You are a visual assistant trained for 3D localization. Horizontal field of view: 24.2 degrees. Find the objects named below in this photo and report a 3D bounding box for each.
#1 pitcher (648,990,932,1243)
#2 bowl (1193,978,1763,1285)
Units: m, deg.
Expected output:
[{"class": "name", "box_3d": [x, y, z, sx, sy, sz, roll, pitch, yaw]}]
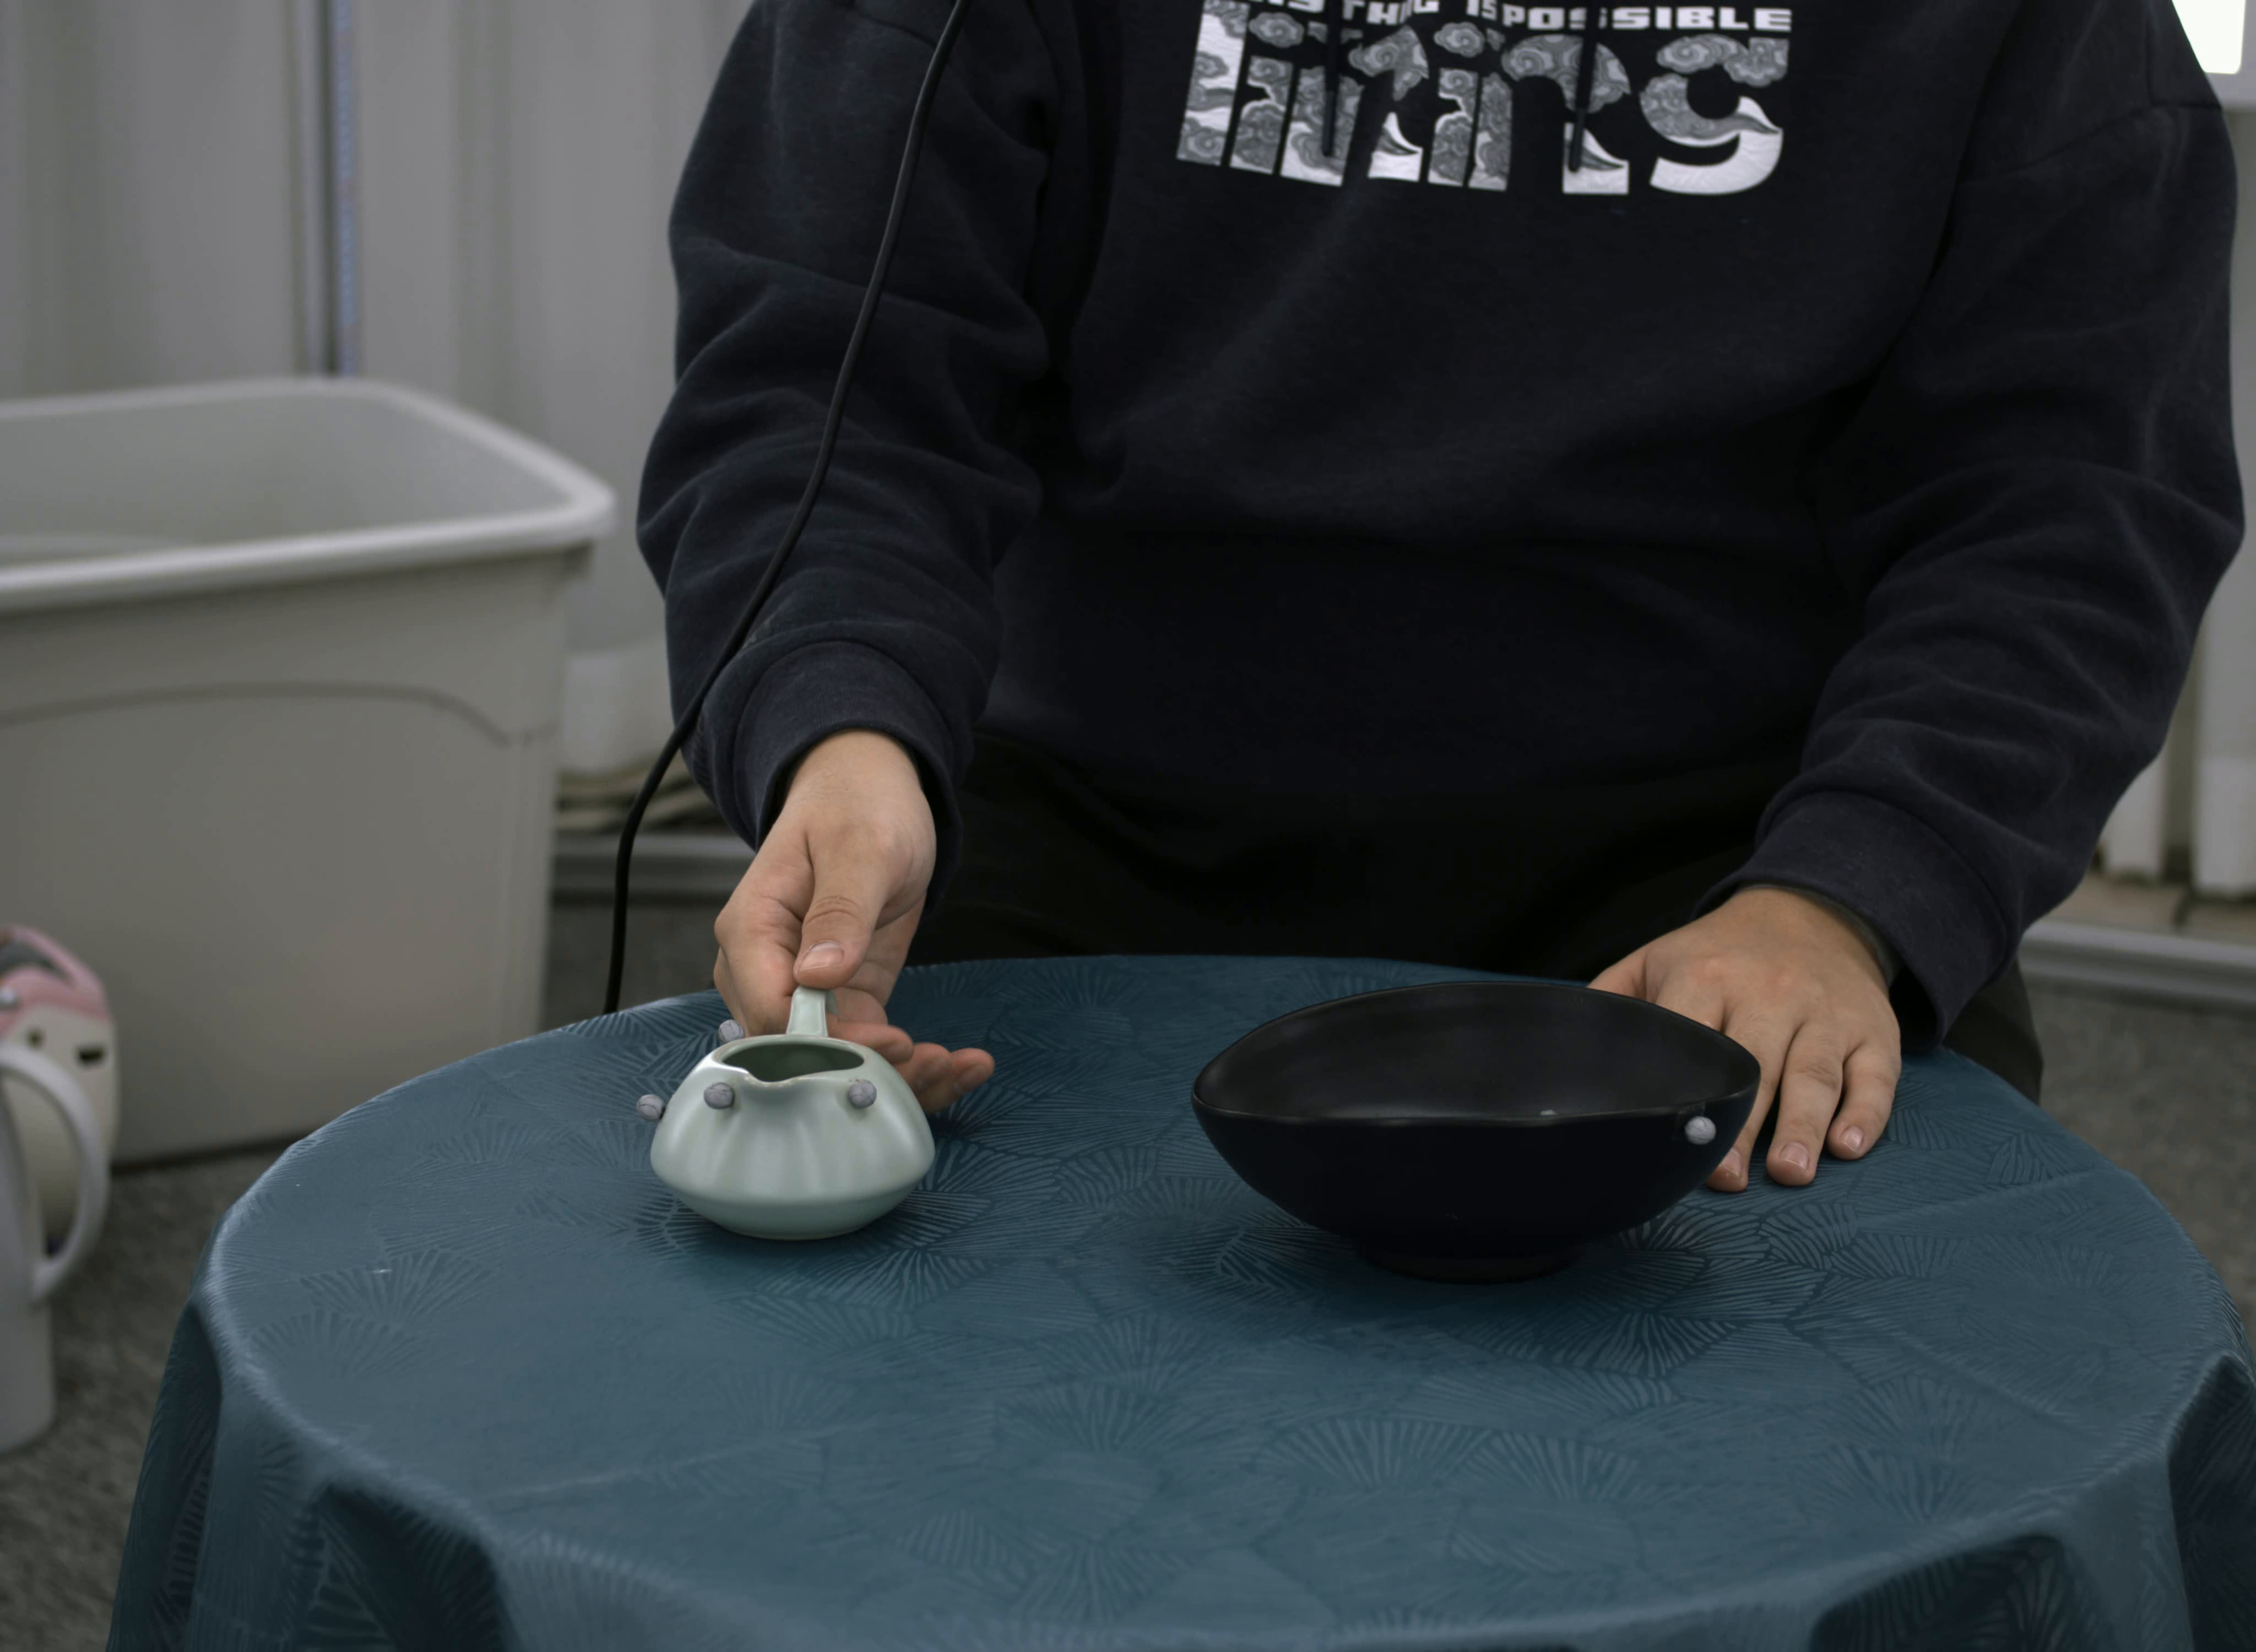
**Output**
[{"class": "pitcher", "box_3d": [-0.101, 0.089, 1.603, 0.085, 0.061, 0.107, 3, 13, 3]}, {"class": "bowl", "box_3d": [0.105, 0.096, 1.573, 0.170, 0.067, 0.136, -1, 15, -4]}]
